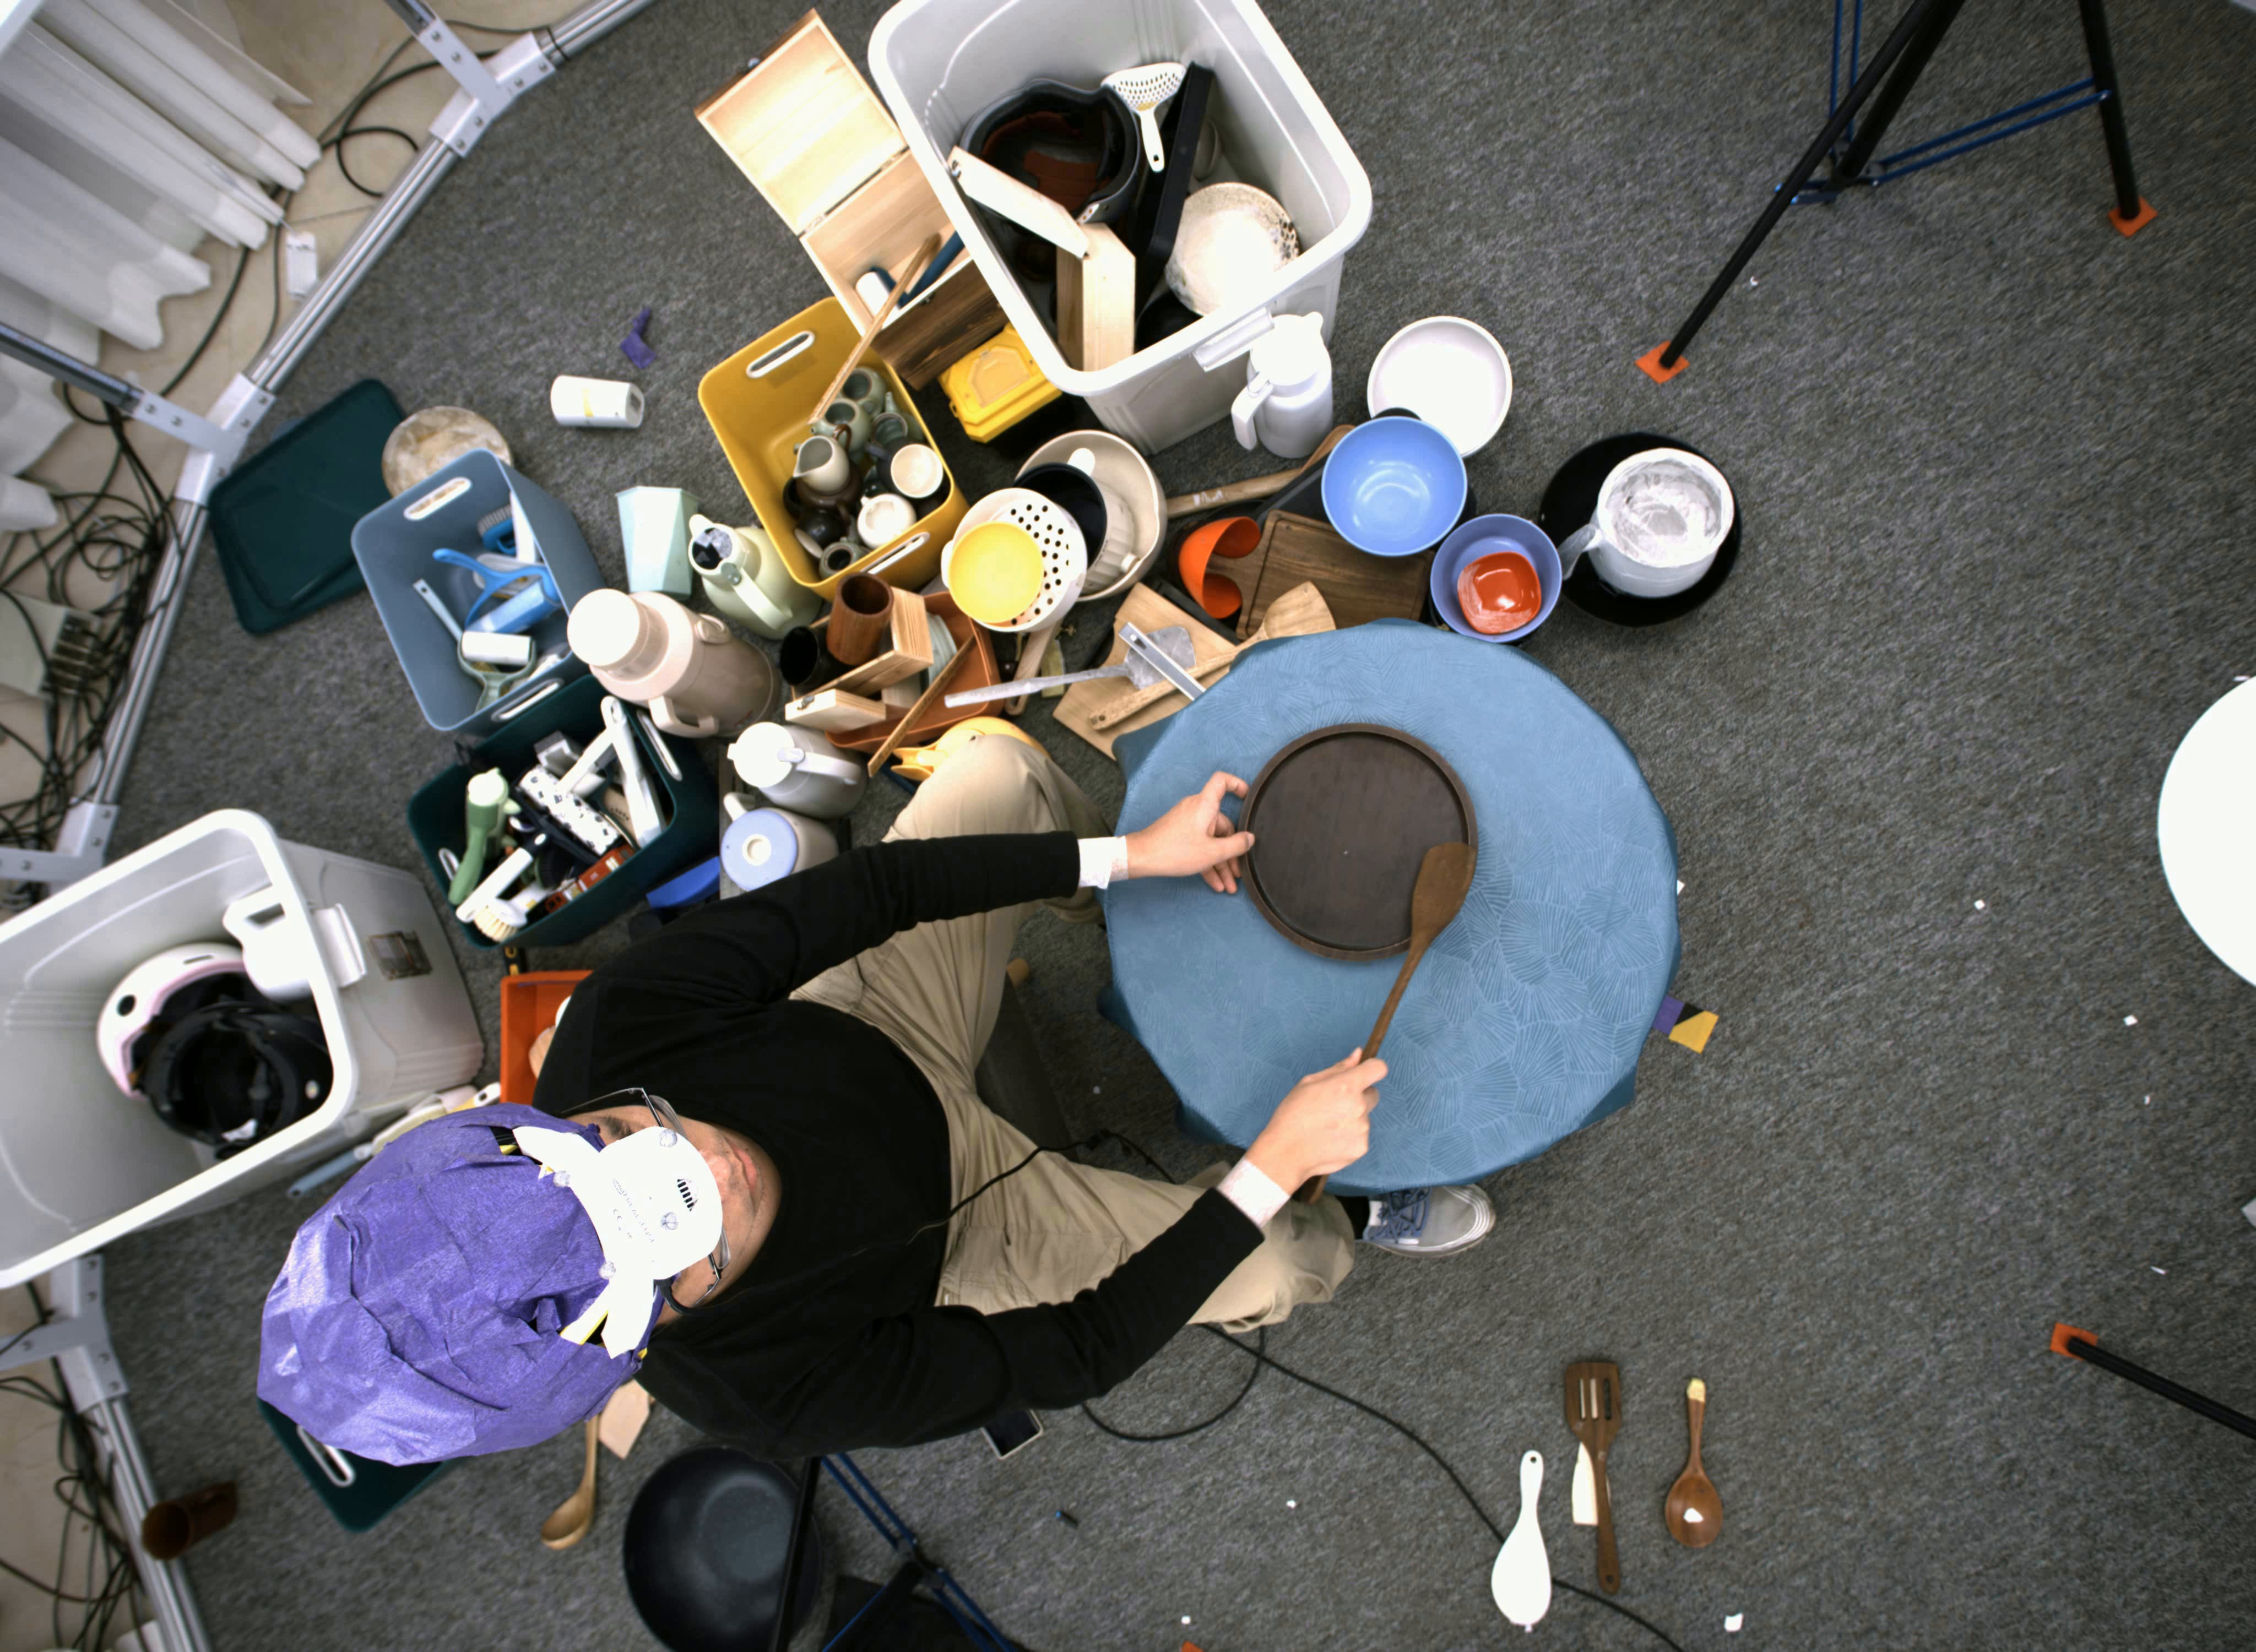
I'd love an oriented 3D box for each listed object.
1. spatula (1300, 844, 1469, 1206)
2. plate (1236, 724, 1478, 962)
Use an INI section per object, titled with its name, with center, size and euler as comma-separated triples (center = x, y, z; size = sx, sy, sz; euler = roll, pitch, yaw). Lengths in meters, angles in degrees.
[spatula]
center = 0.248, 0.192, 1.364
size = 0.016, 0.096, 0.384
euler = 25, 87, -16
[plate]
center = 0.240, 0.016, 1.458
size = 0.256, 0.029, 0.254
euler = -1, 87, 9
